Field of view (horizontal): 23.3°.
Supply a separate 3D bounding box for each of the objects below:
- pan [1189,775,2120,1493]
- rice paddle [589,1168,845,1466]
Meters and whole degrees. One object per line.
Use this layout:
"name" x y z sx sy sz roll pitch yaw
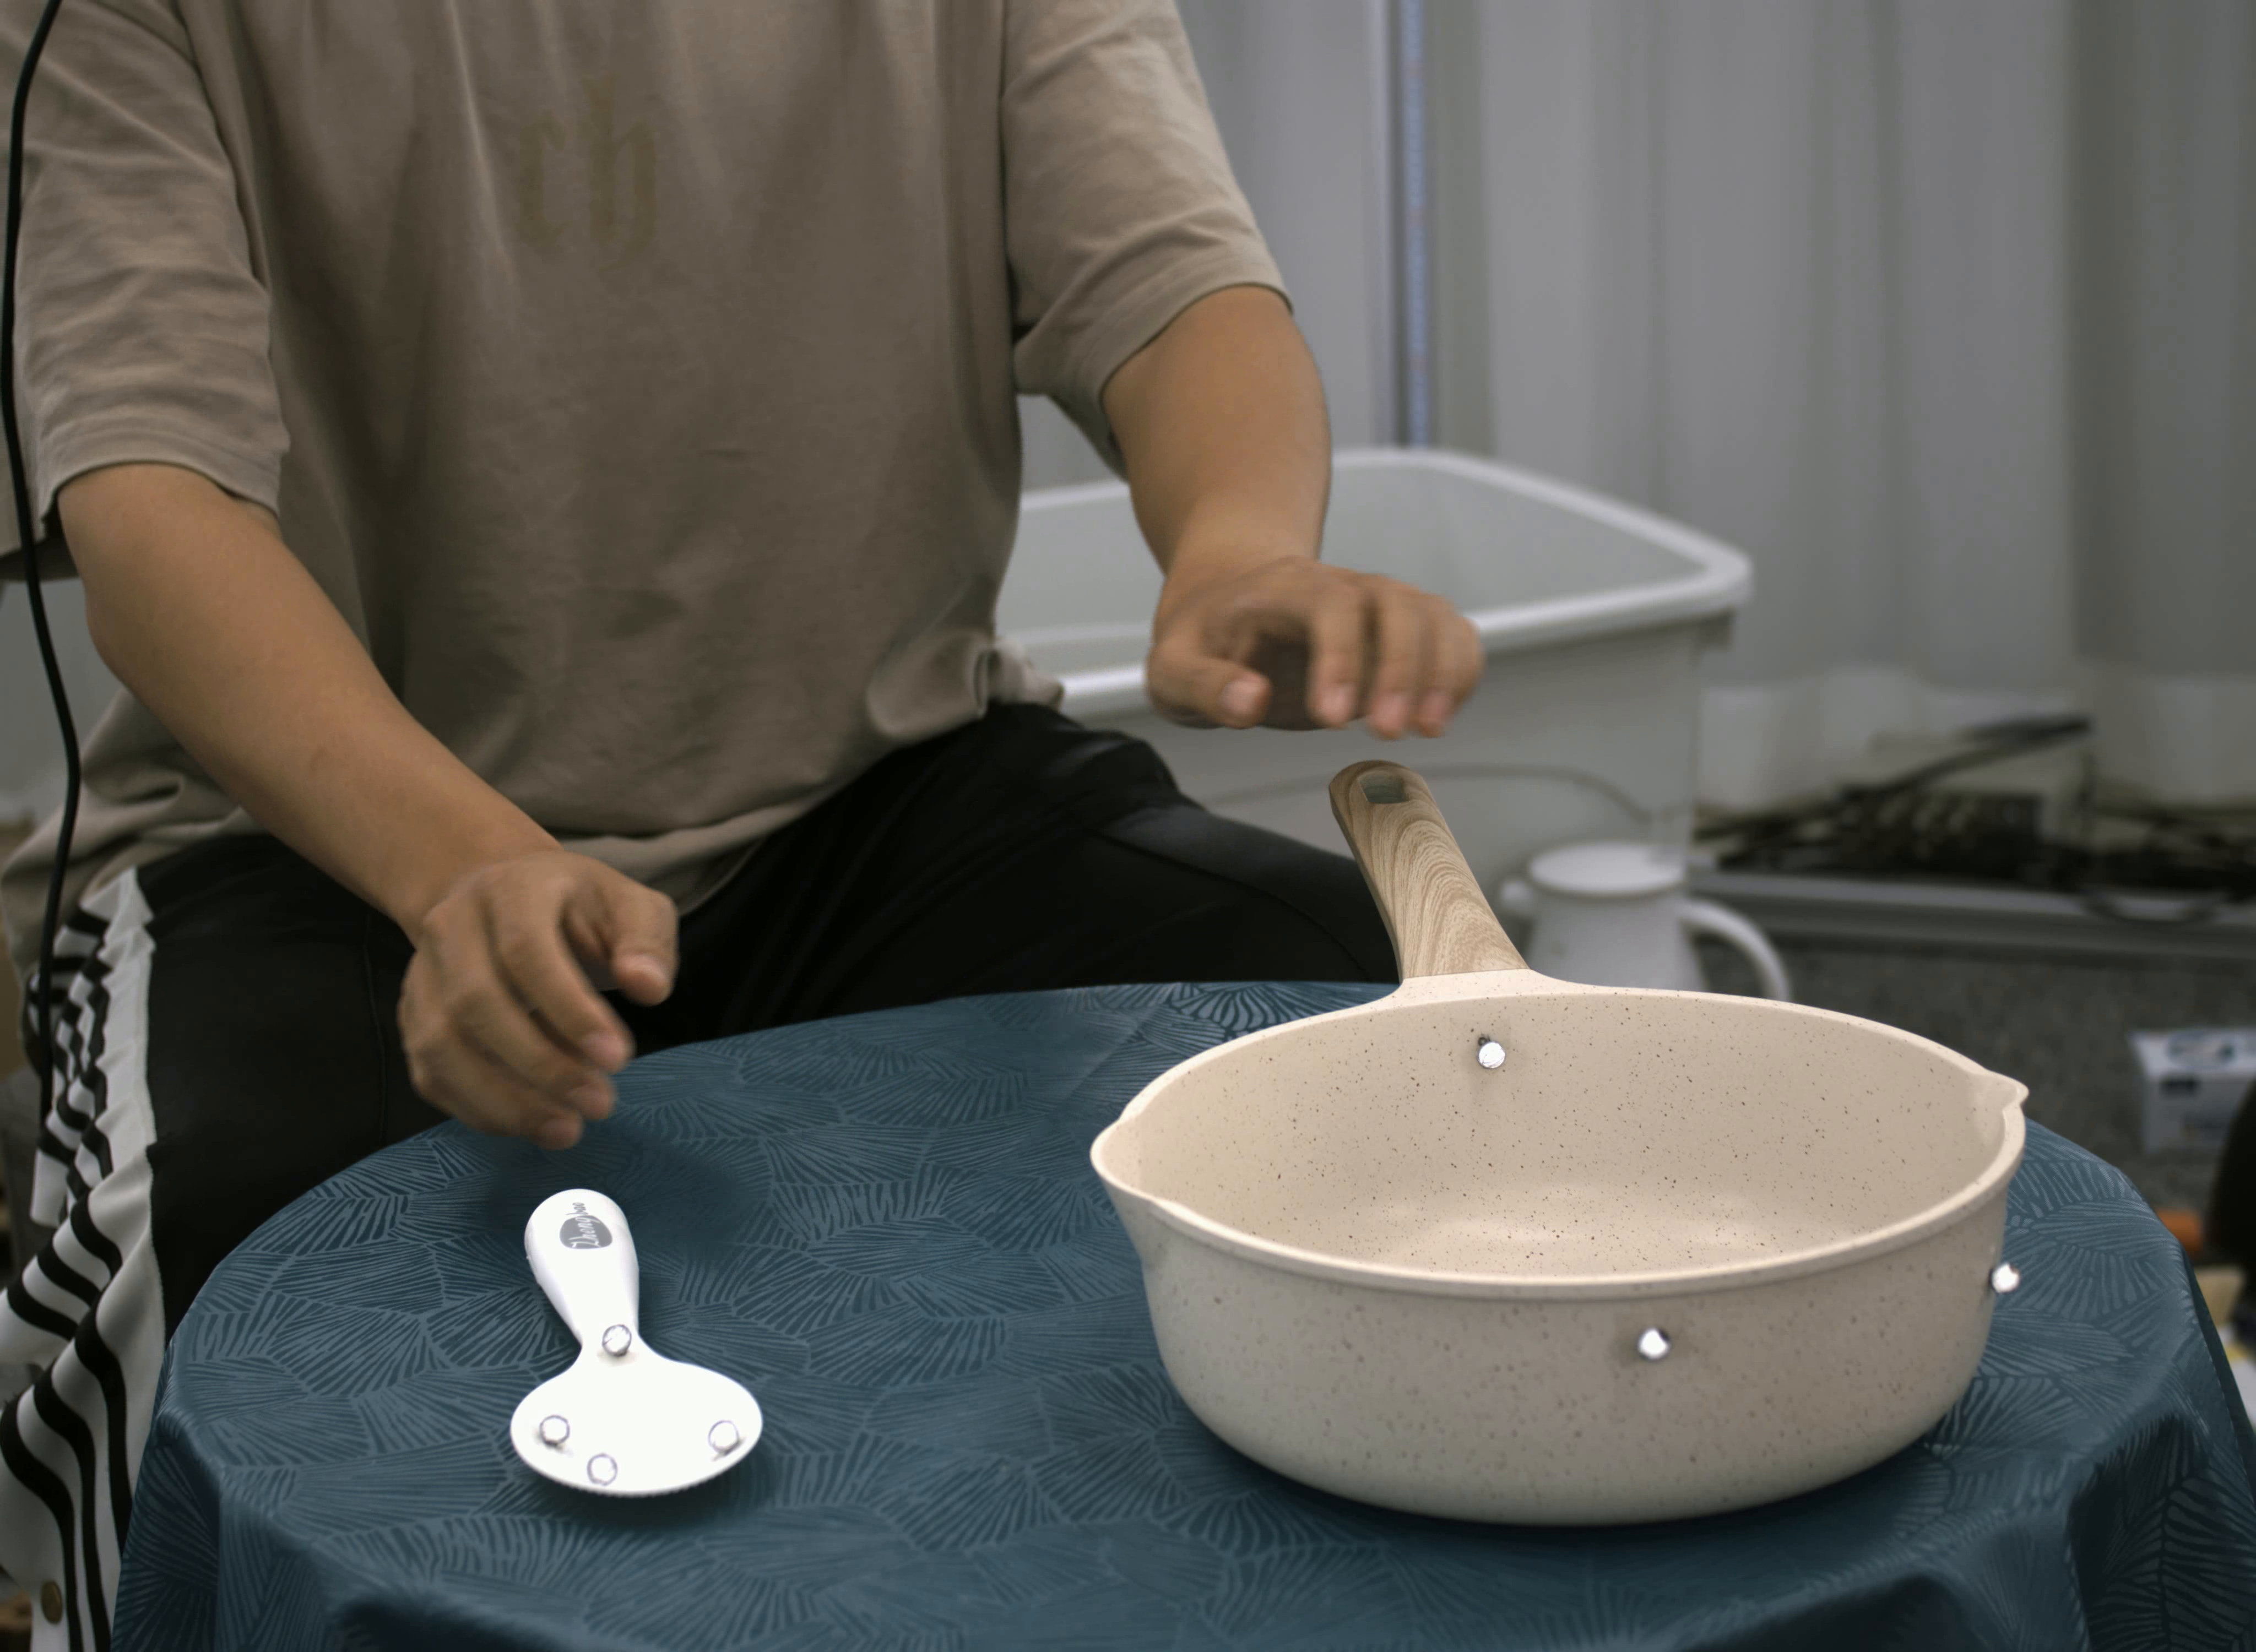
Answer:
"pan" 0.136 0.084 1.607 0.262 0.101 0.438 -6 15 -6
"rice paddle" -0.125 0.142 1.557 0.068 0.029 0.207 -8 16 -11
